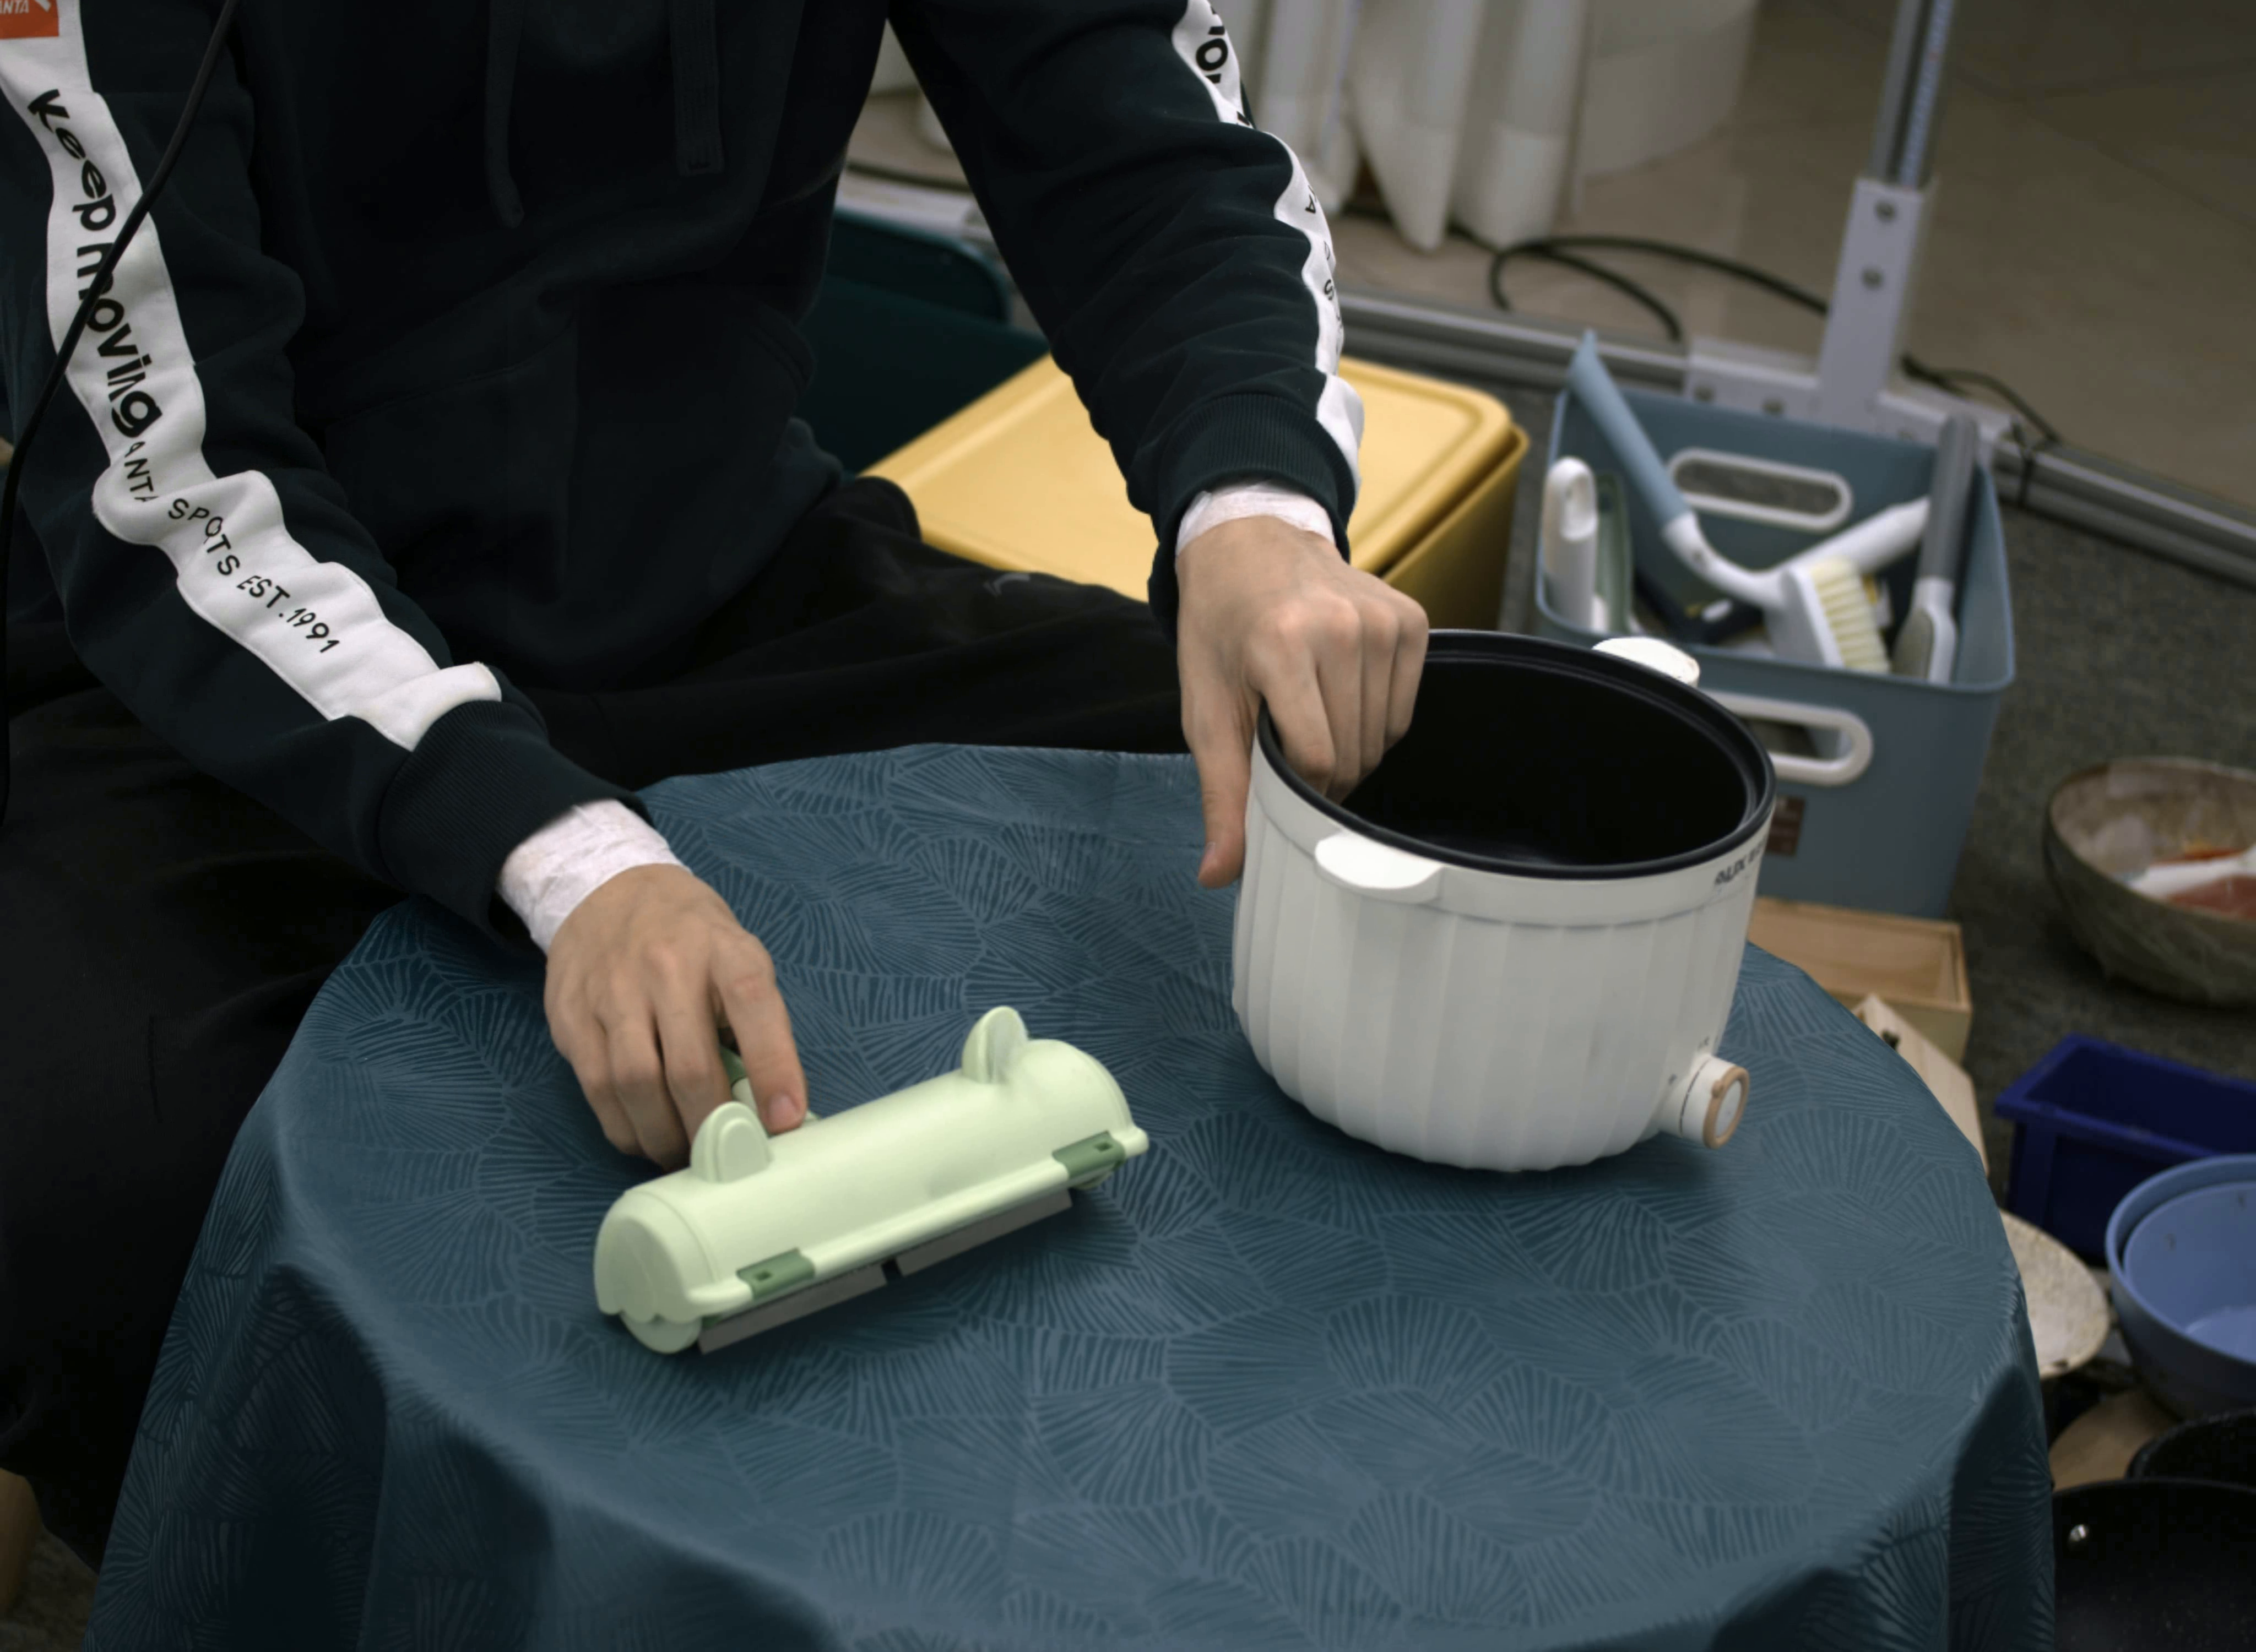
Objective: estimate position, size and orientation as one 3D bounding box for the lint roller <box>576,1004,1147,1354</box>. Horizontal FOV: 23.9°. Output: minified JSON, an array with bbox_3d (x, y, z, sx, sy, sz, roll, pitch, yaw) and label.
[{"bbox_3d":[-0.121,0.087,1.761,0.197,0.082,0.185,-18,41,-39],"label":"lint roller"}]

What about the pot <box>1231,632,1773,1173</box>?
[{"bbox_3d":[0.131,0.032,1.857,0.191,0.142,0.240,17,30,27],"label":"pot"}]
